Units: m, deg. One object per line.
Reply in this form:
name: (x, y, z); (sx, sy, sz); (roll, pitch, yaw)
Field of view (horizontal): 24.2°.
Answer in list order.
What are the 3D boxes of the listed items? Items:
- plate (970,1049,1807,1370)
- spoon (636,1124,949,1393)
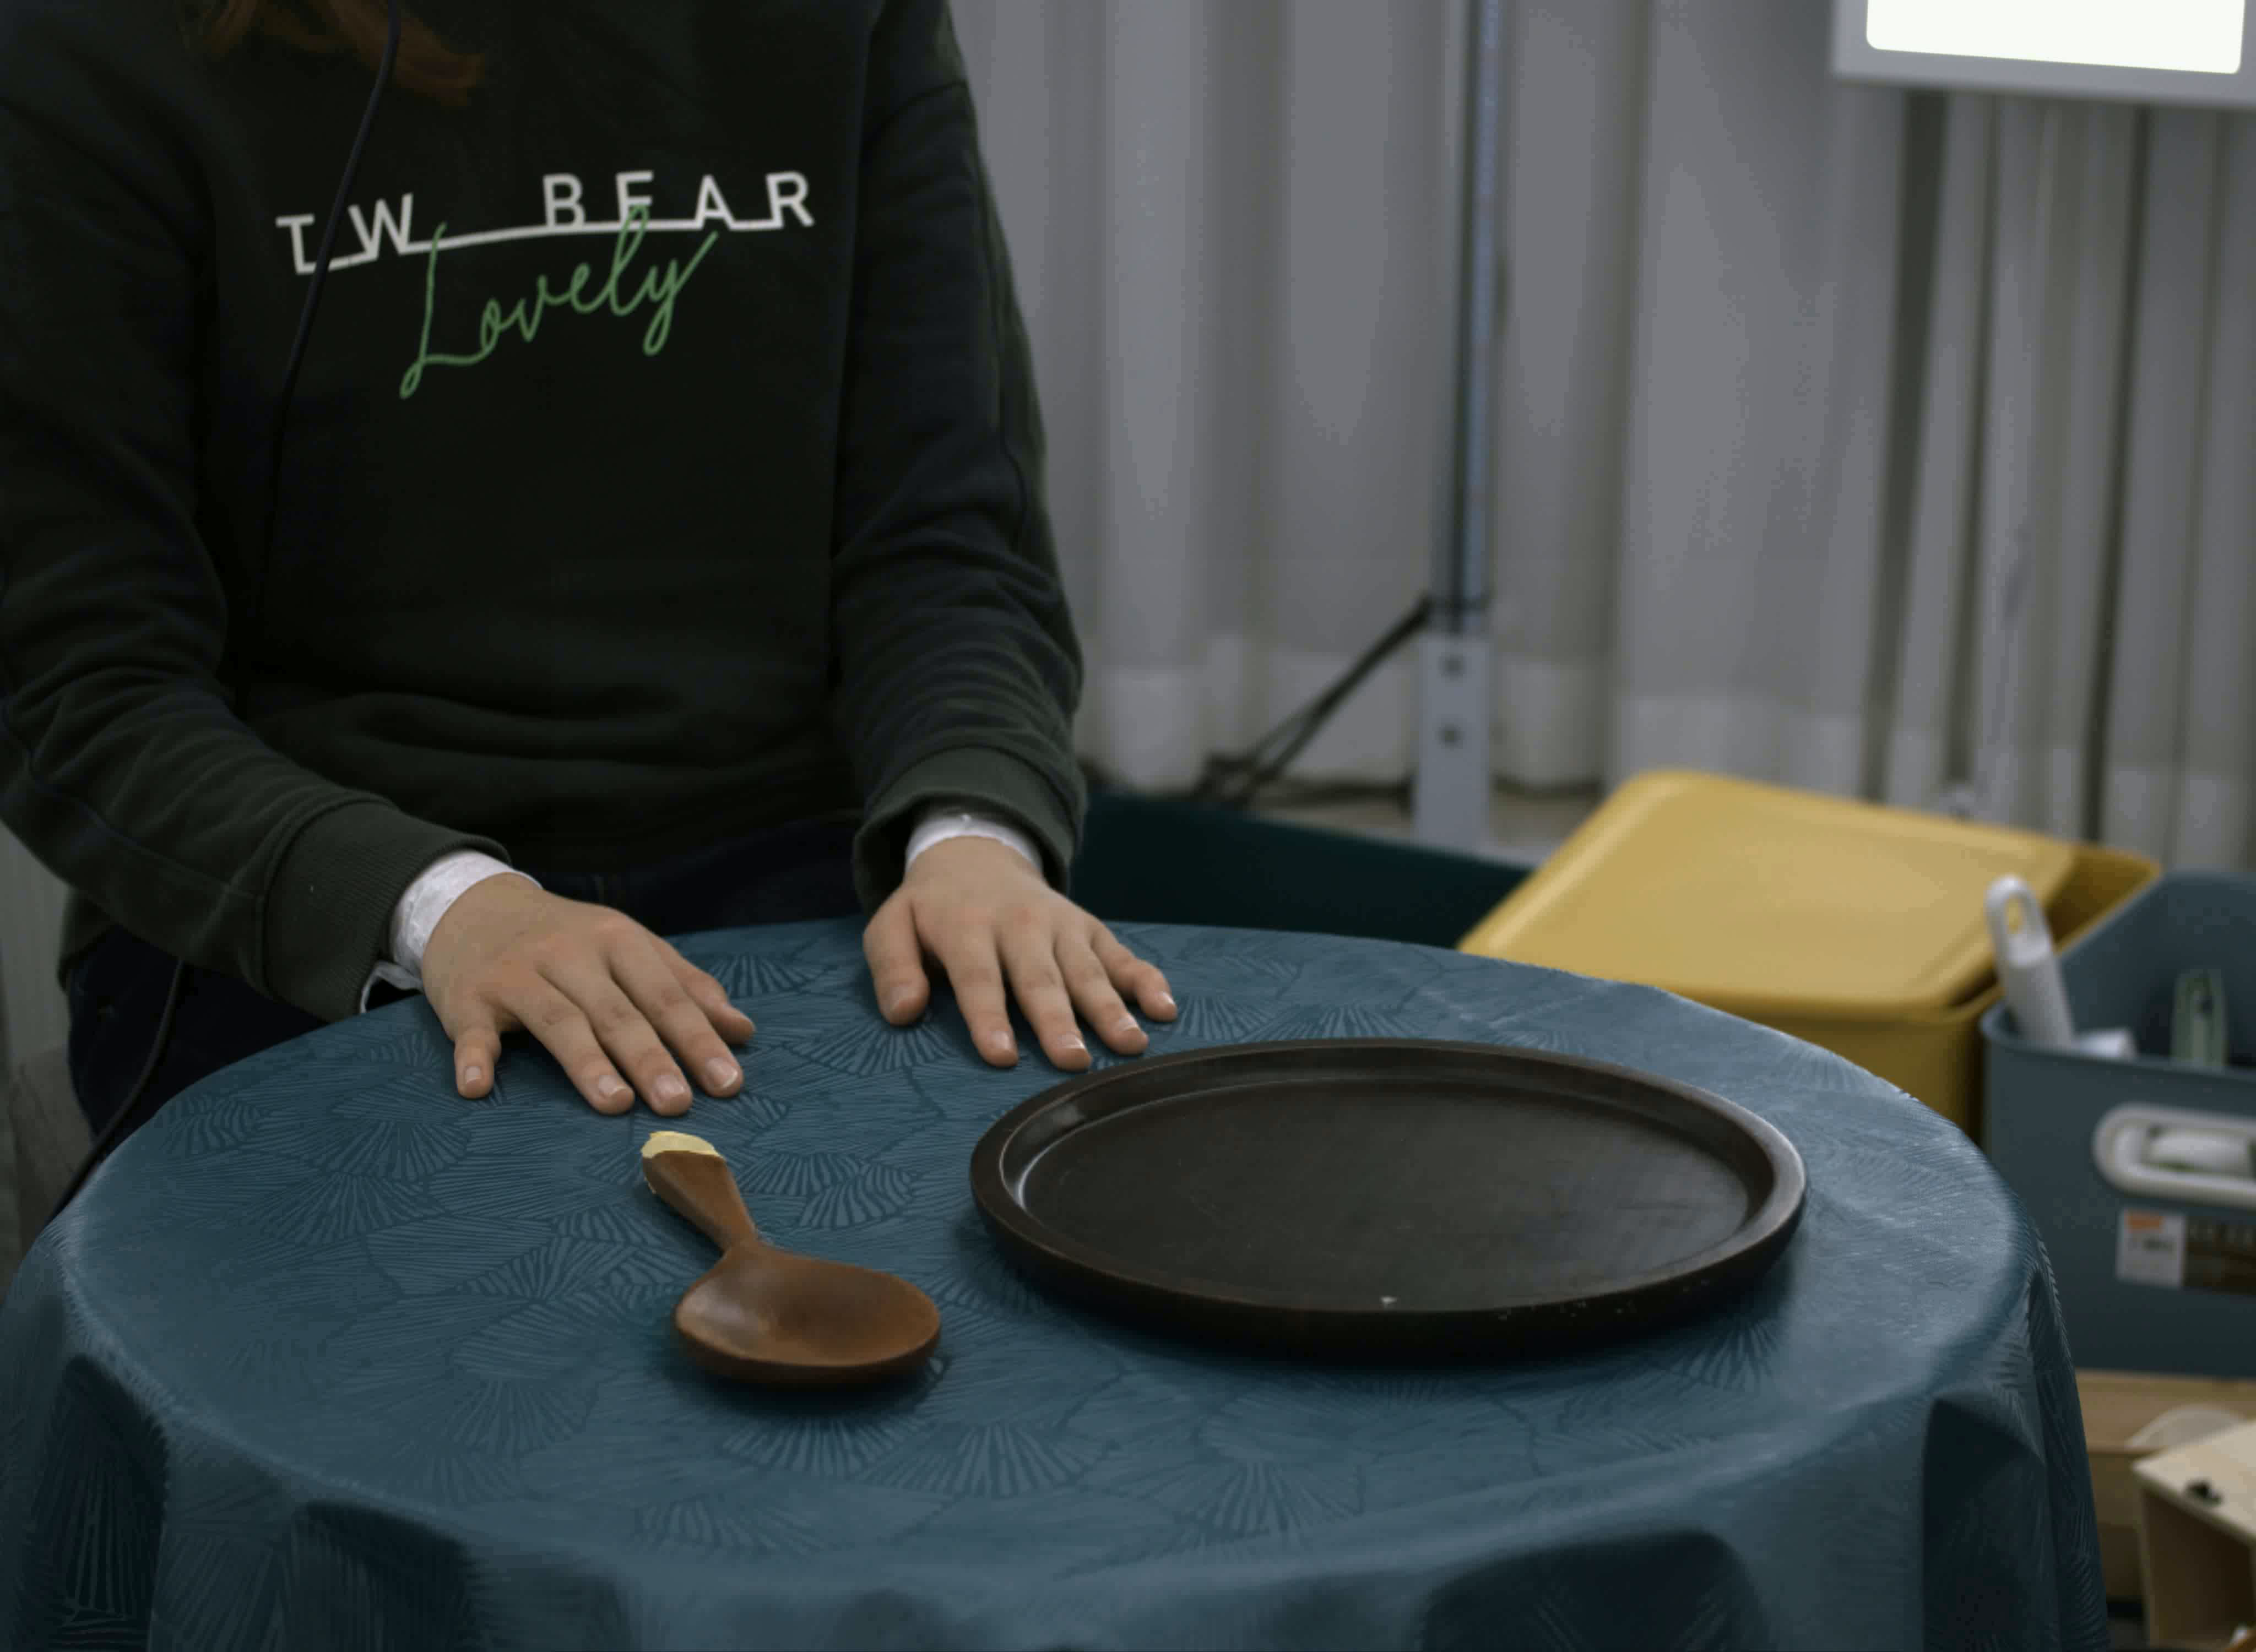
plate: (0.078, 0.112, 1.591); (0.254, 0.029, 0.253); (2, 16, 0)
spoon: (-0.109, 0.127, 1.539); (0.075, 0.017, 0.213); (-5, 17, -18)
